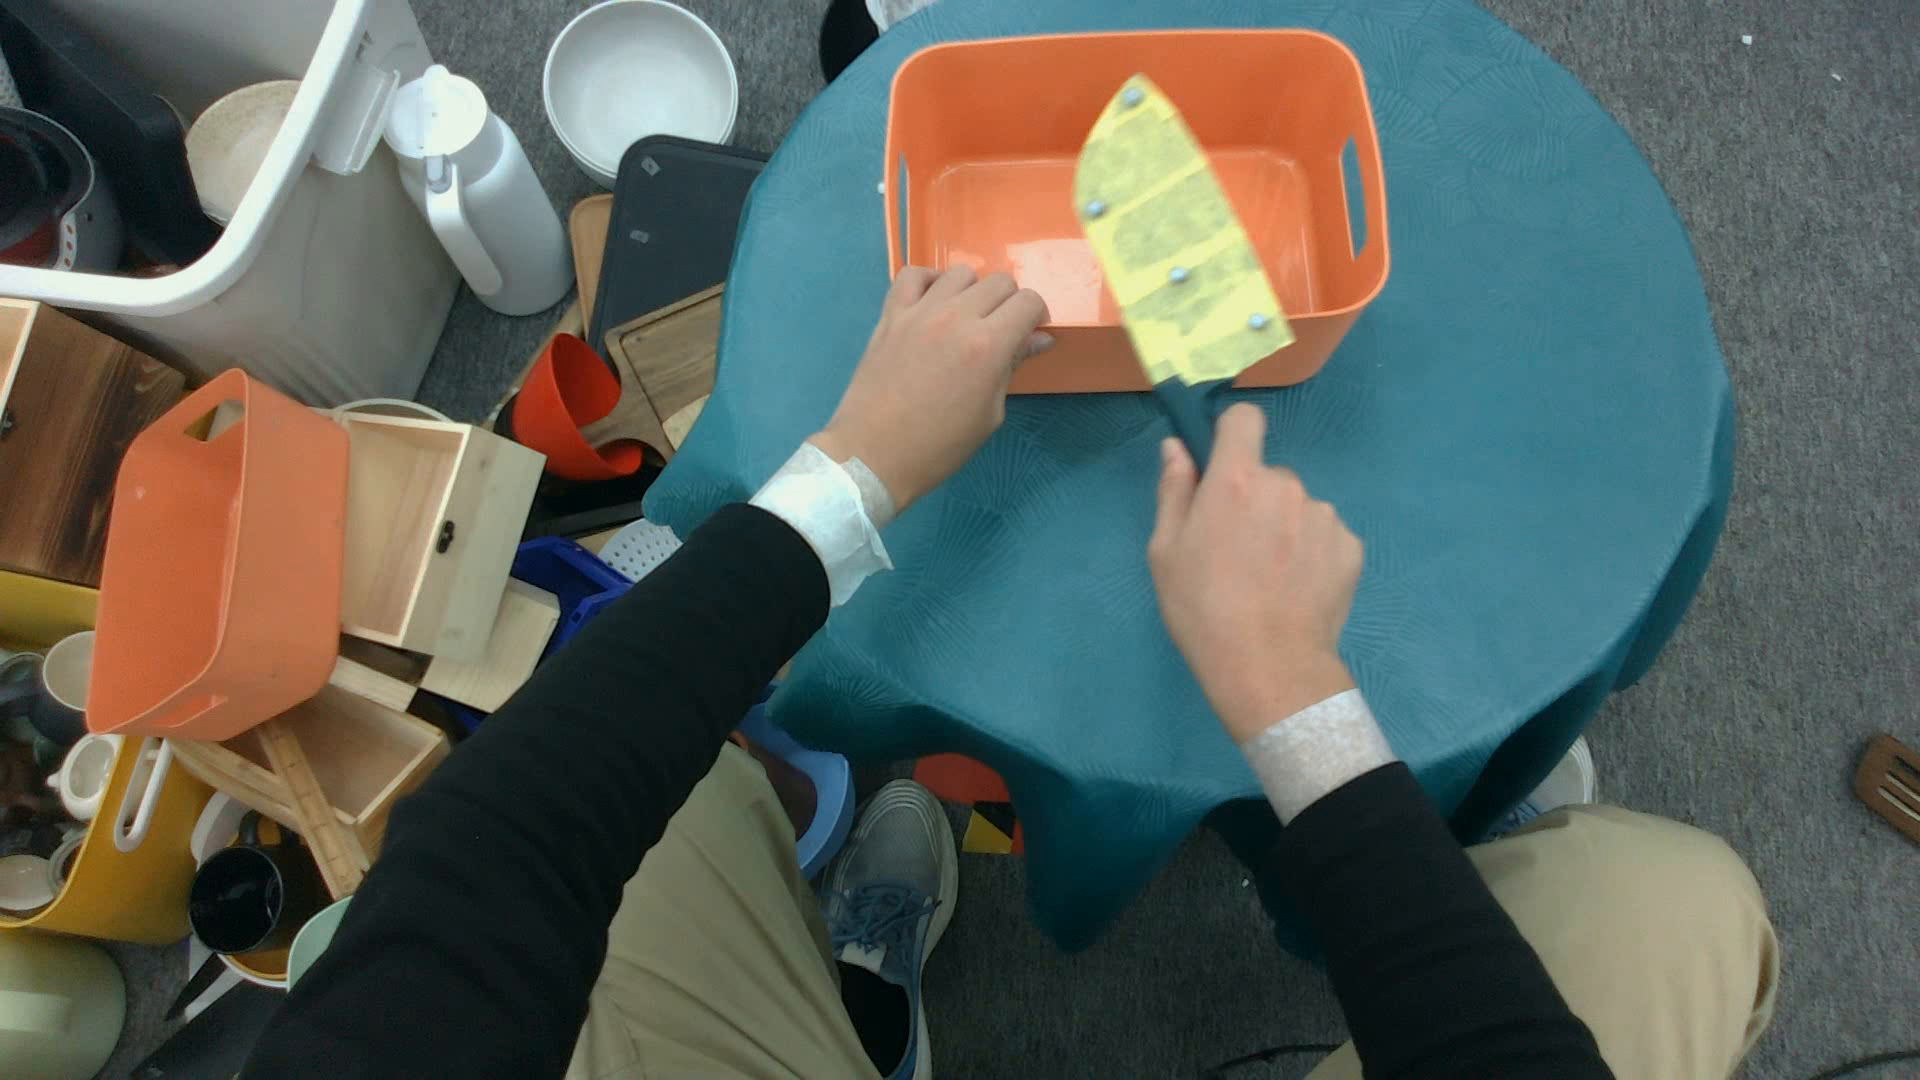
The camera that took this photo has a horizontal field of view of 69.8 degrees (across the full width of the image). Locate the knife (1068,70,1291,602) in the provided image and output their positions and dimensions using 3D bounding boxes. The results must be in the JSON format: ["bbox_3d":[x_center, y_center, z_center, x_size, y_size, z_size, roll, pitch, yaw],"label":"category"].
[{"bbox_3d":[0.117,-0.110,0.687,0.081,0.027,0.290,-23,75,26],"label":"knife"}]

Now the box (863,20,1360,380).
[{"bbox_3d":[0.083,-0.192,0.808,0.273,0.102,0.200,-1,67,0],"label":"box"}]
